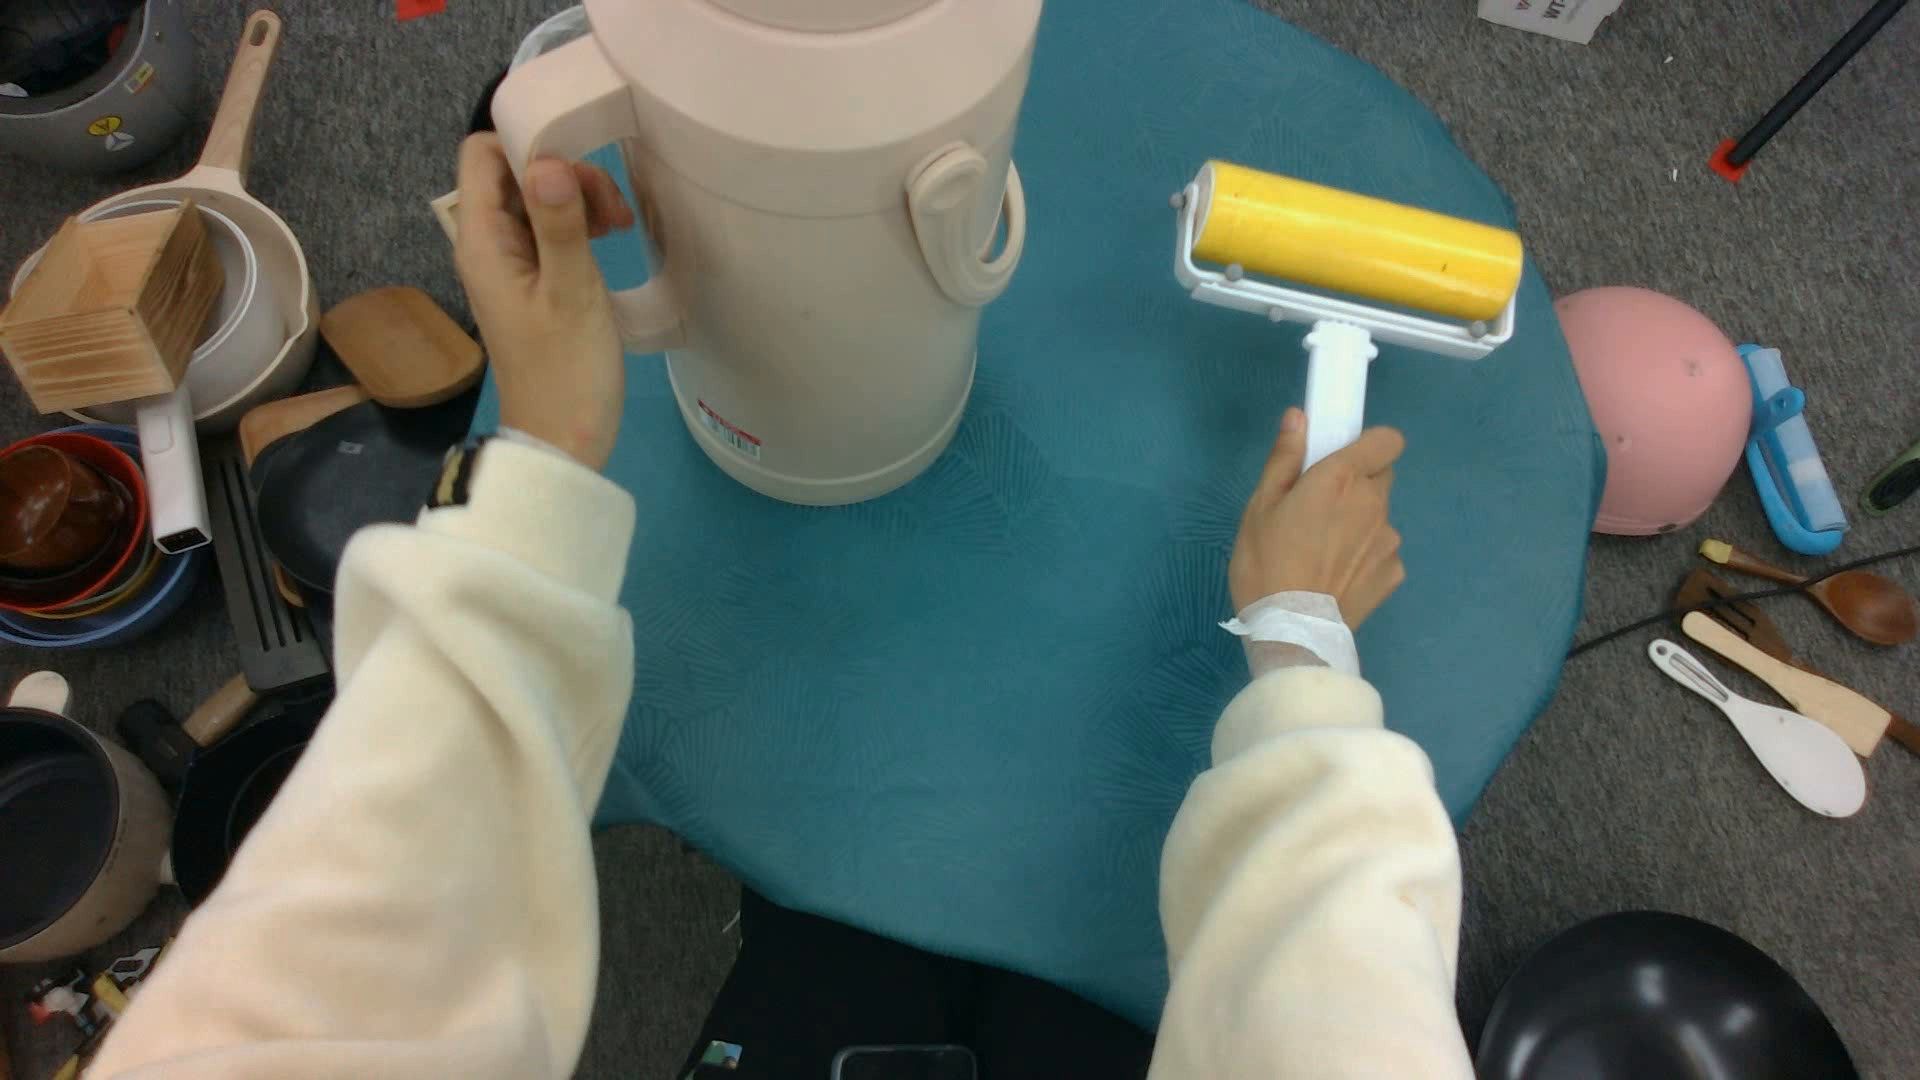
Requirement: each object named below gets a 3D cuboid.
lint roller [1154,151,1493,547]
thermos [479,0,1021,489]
[{"bbox_3d":[0.178,-0.092,0.667,0.174,0.051,0.193,10,62,-9],"label":"lint roller"},{"bbox_3d":[-0.075,-0.162,0.551,0.207,0.405,0.175,-32,76,-16],"label":"thermos"}]
